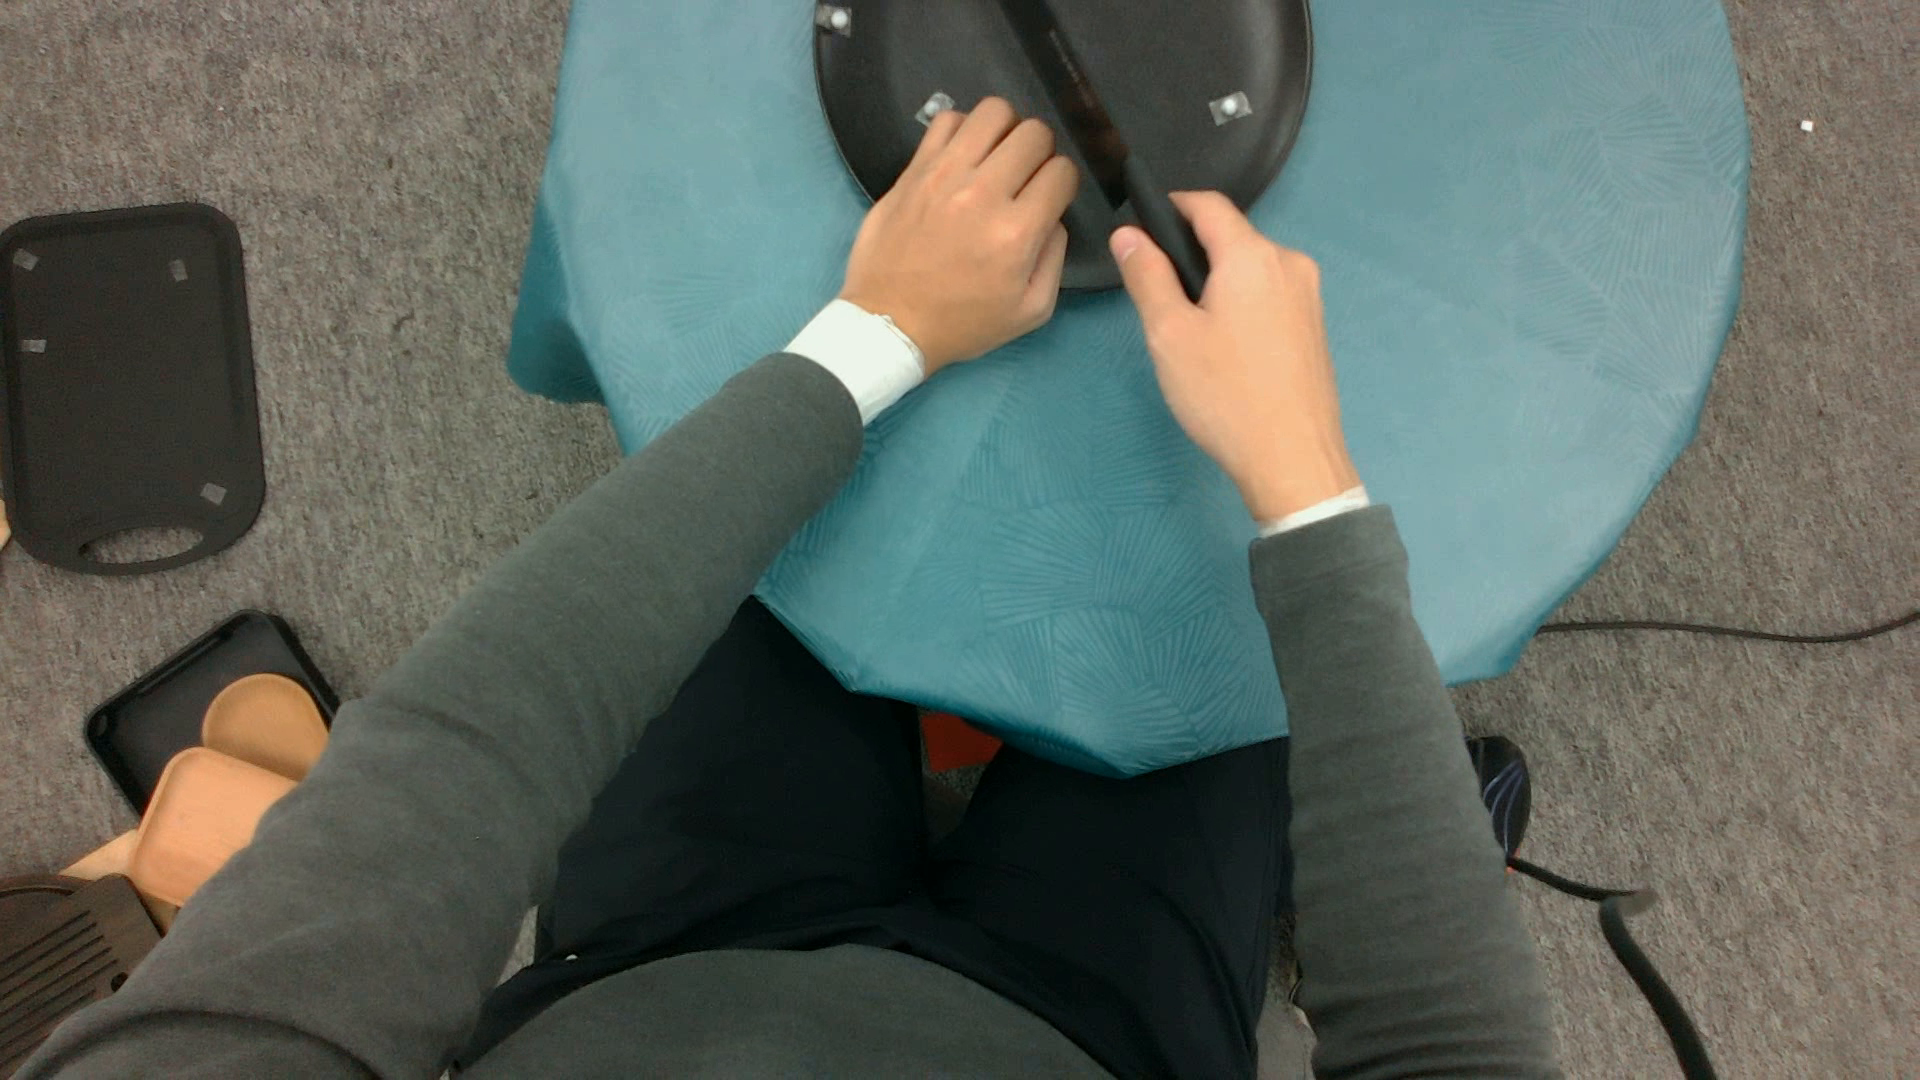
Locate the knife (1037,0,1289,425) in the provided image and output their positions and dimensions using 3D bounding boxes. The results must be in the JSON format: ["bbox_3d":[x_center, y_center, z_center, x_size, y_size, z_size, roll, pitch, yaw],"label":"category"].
[{"bbox_3d":[0.065,-0.186,0.595,0.021,0.081,0.302,-28,91,0],"label":"knife"}]

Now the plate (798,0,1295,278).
[{"bbox_3d":[0.043,-0.247,0.678,0.244,0.023,0.244,0,86,-2],"label":"plate"}]
